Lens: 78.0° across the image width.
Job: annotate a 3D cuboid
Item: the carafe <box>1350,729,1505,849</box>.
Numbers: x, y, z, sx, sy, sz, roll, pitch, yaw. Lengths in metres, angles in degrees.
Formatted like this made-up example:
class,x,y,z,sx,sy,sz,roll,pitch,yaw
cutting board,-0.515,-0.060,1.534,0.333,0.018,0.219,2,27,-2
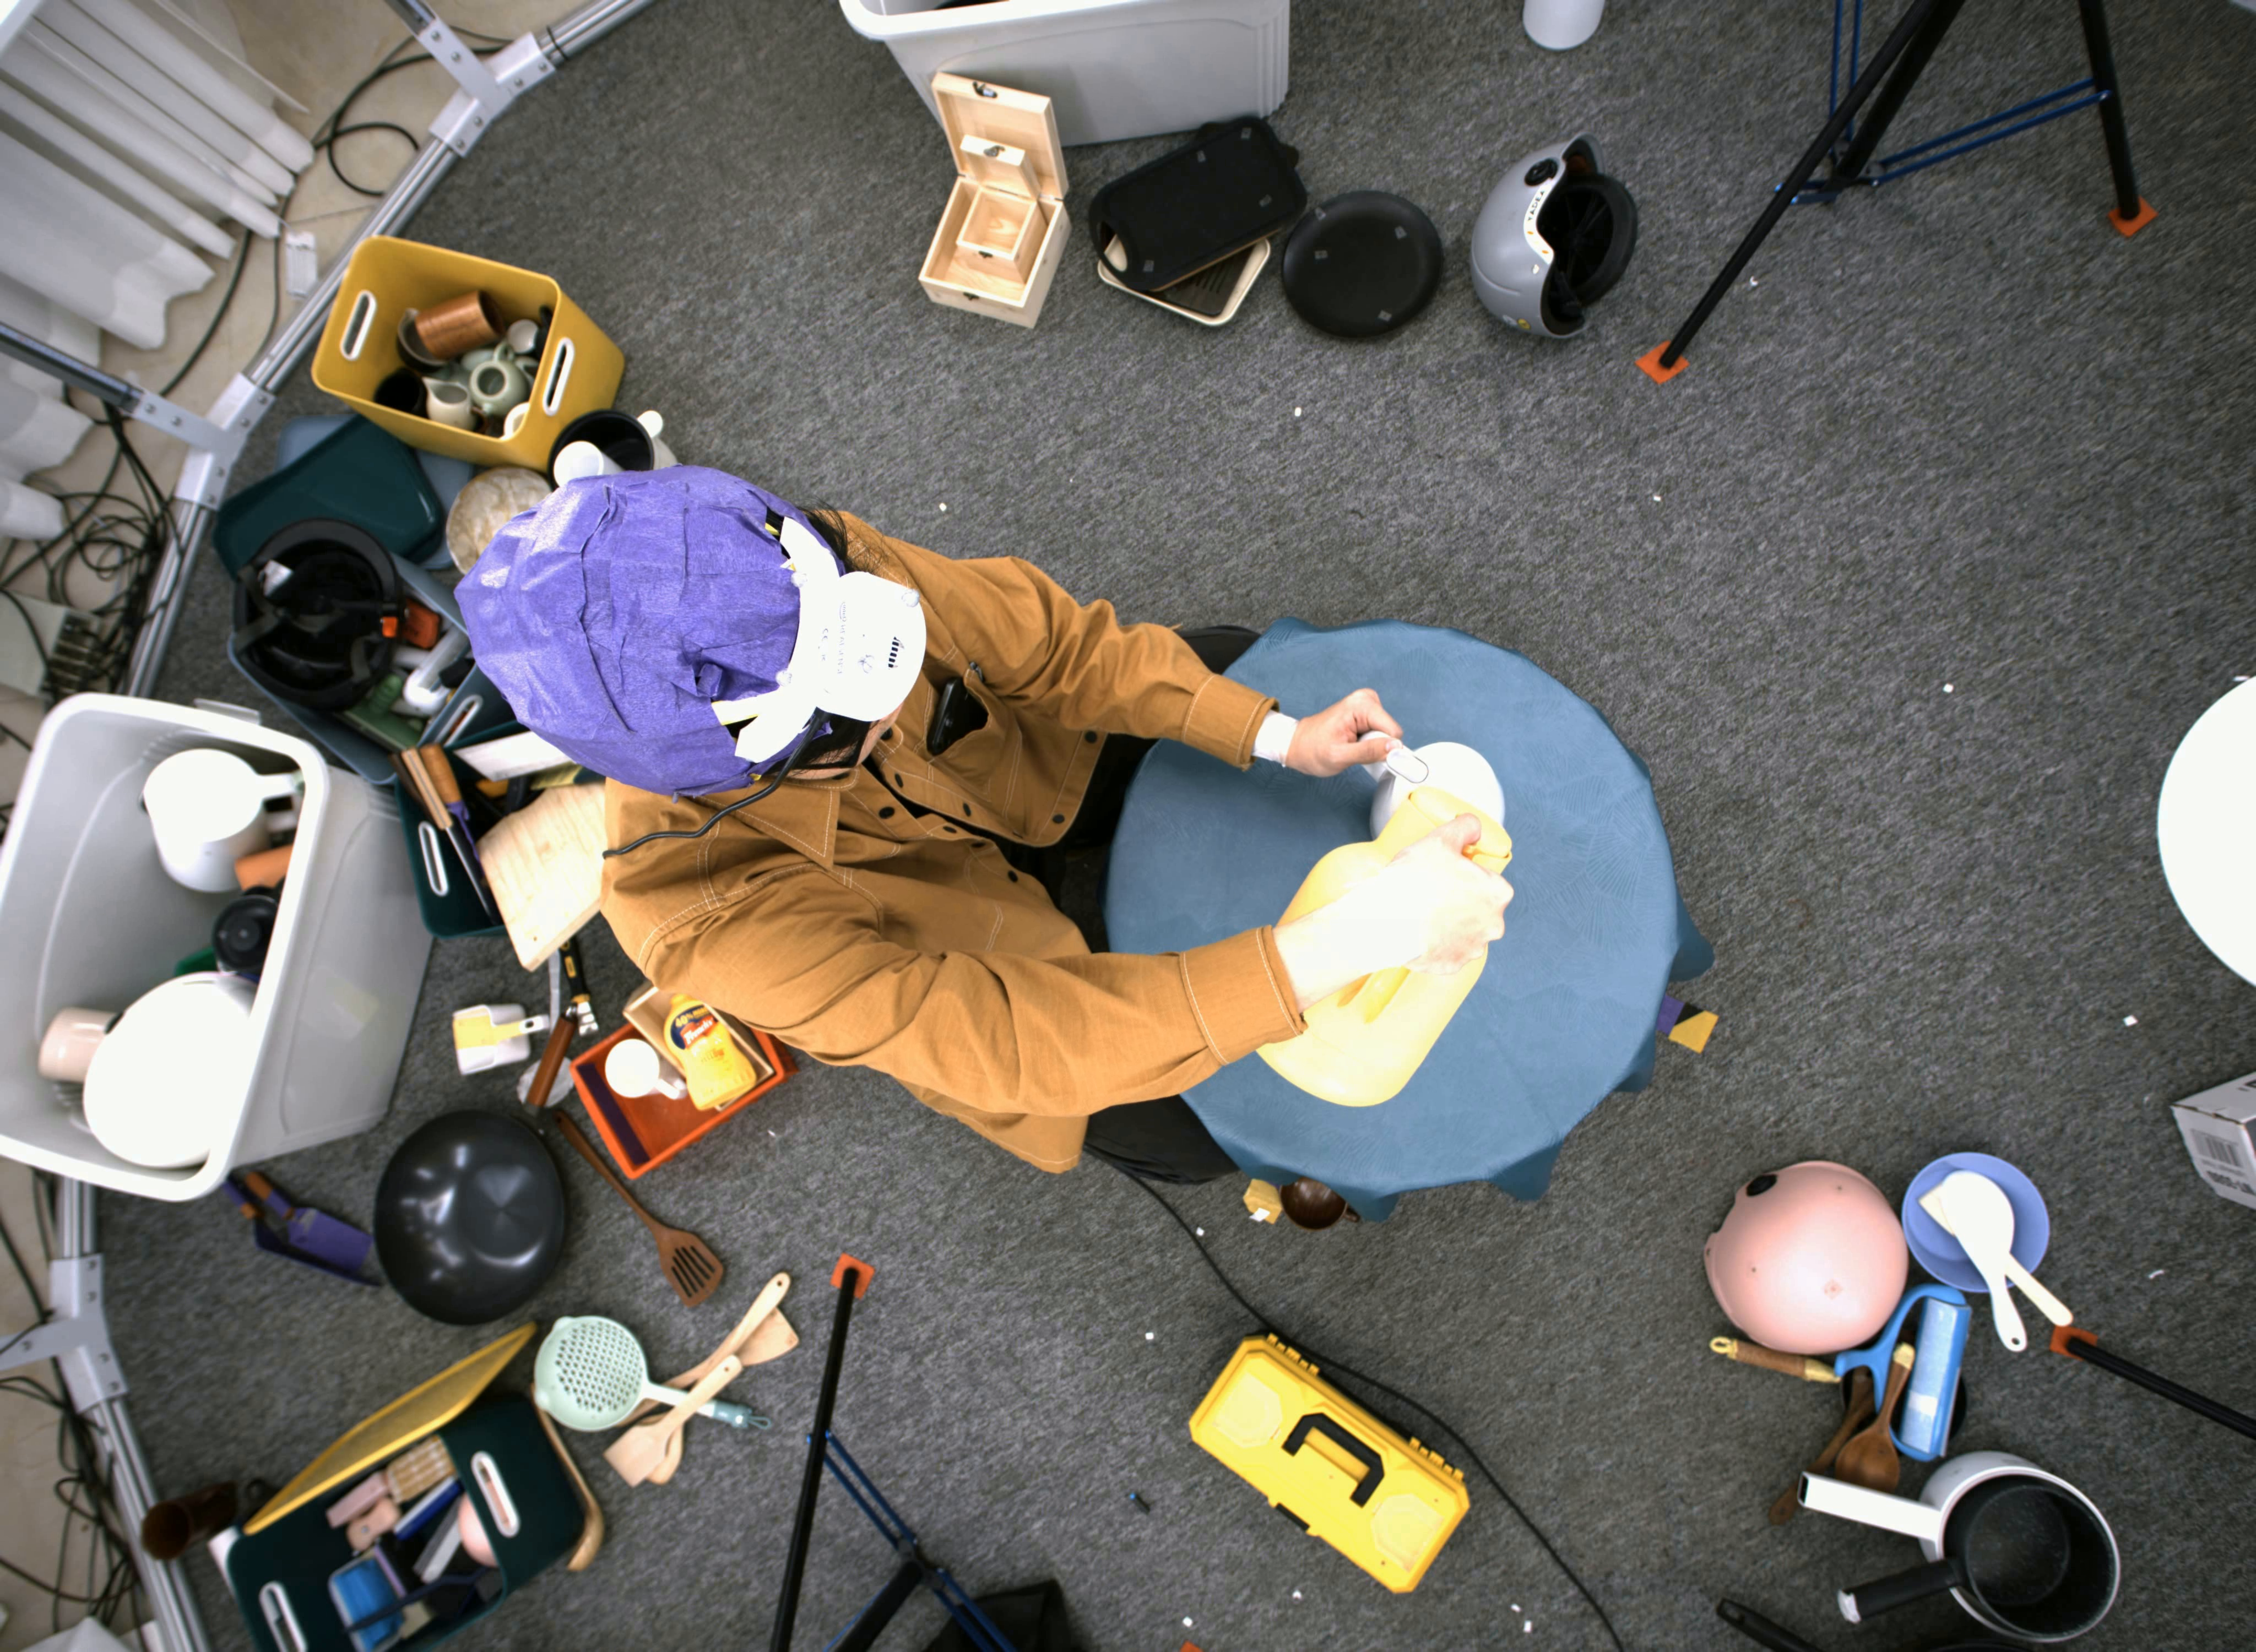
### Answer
class,x,y,z,sx,sy,sz,roll,pitch,yaw
carafe,0.286,-0.029,1.337,0.167,0.249,0.133,40,93,12

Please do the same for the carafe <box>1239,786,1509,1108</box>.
class,x,y,z,sx,sy,sz,roll,pitch,yaw
carafe,0.205,0.097,1.118,0.163,0.199,0.265,28,112,6
